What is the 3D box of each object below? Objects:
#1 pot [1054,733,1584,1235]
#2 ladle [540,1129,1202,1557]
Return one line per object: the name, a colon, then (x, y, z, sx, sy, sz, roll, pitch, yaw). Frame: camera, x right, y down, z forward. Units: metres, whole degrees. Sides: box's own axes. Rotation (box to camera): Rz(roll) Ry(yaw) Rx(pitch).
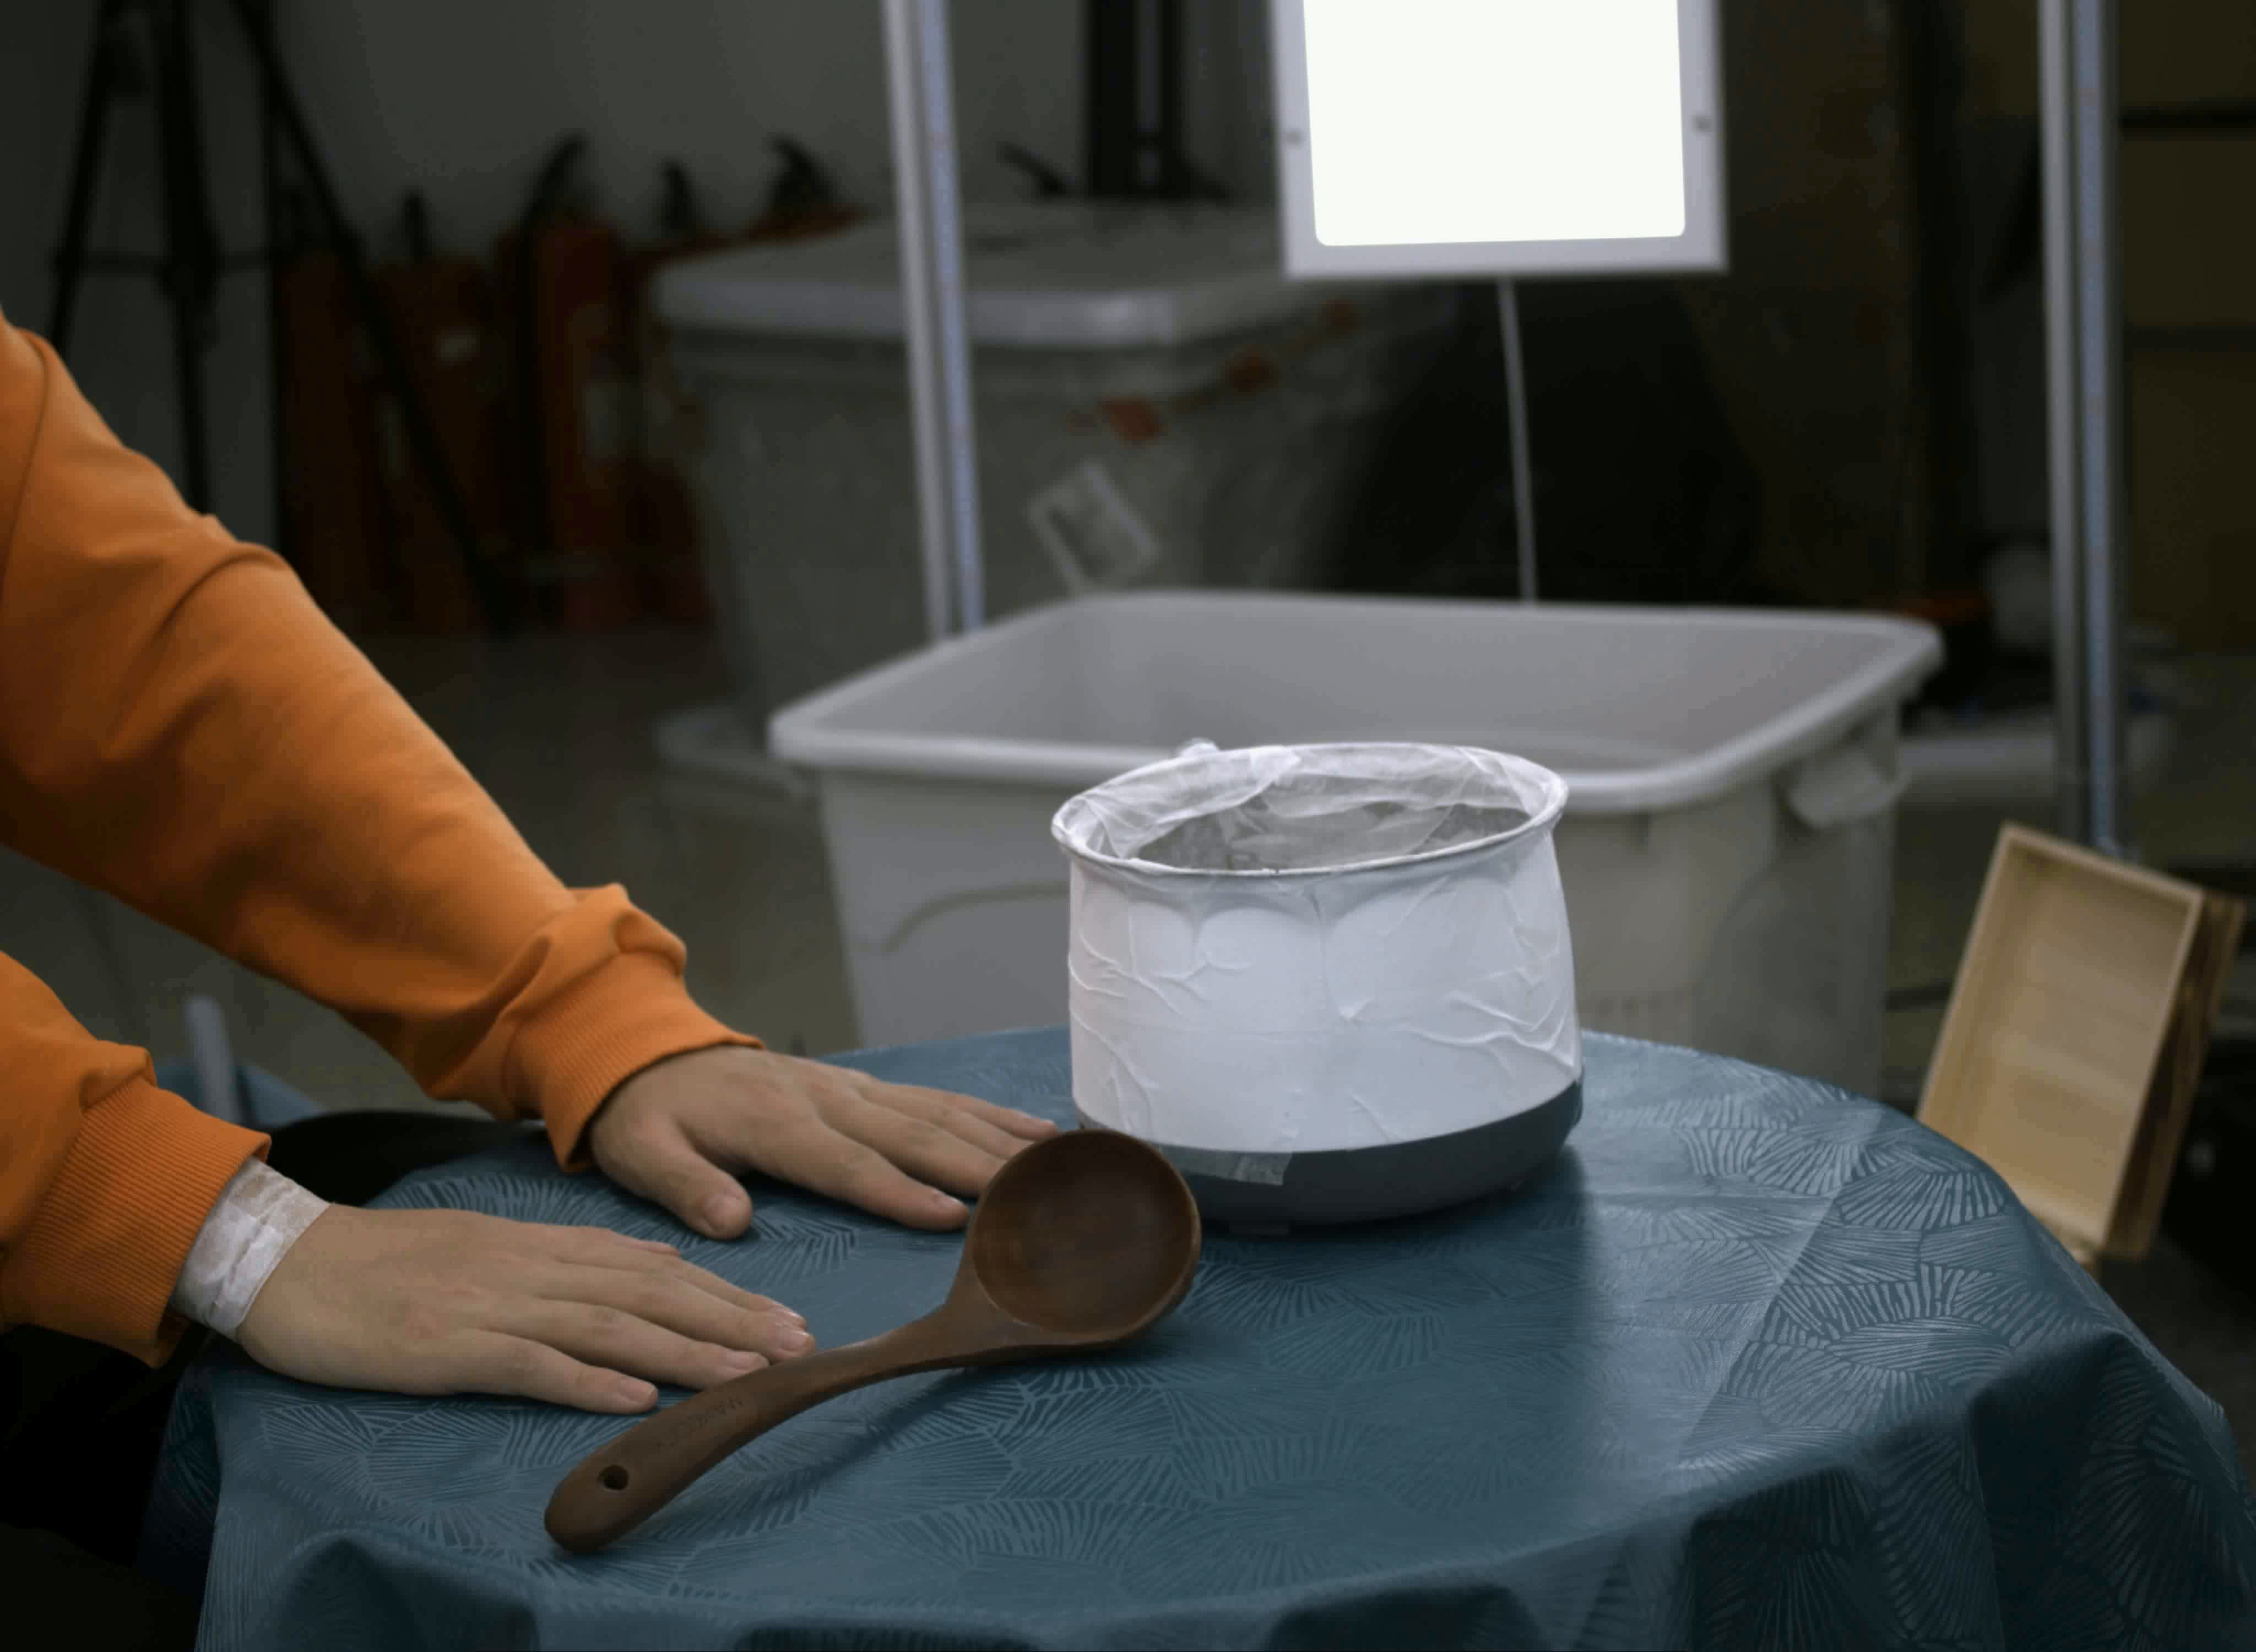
pot: (0.056, 0.048, 1.906, 0.175, 0.137, 0.237, -10, 15, -21)
ladle: (-0.077, 0.156, 1.680, 0.077, 0.066, 0.253, 36, 35, 30)
